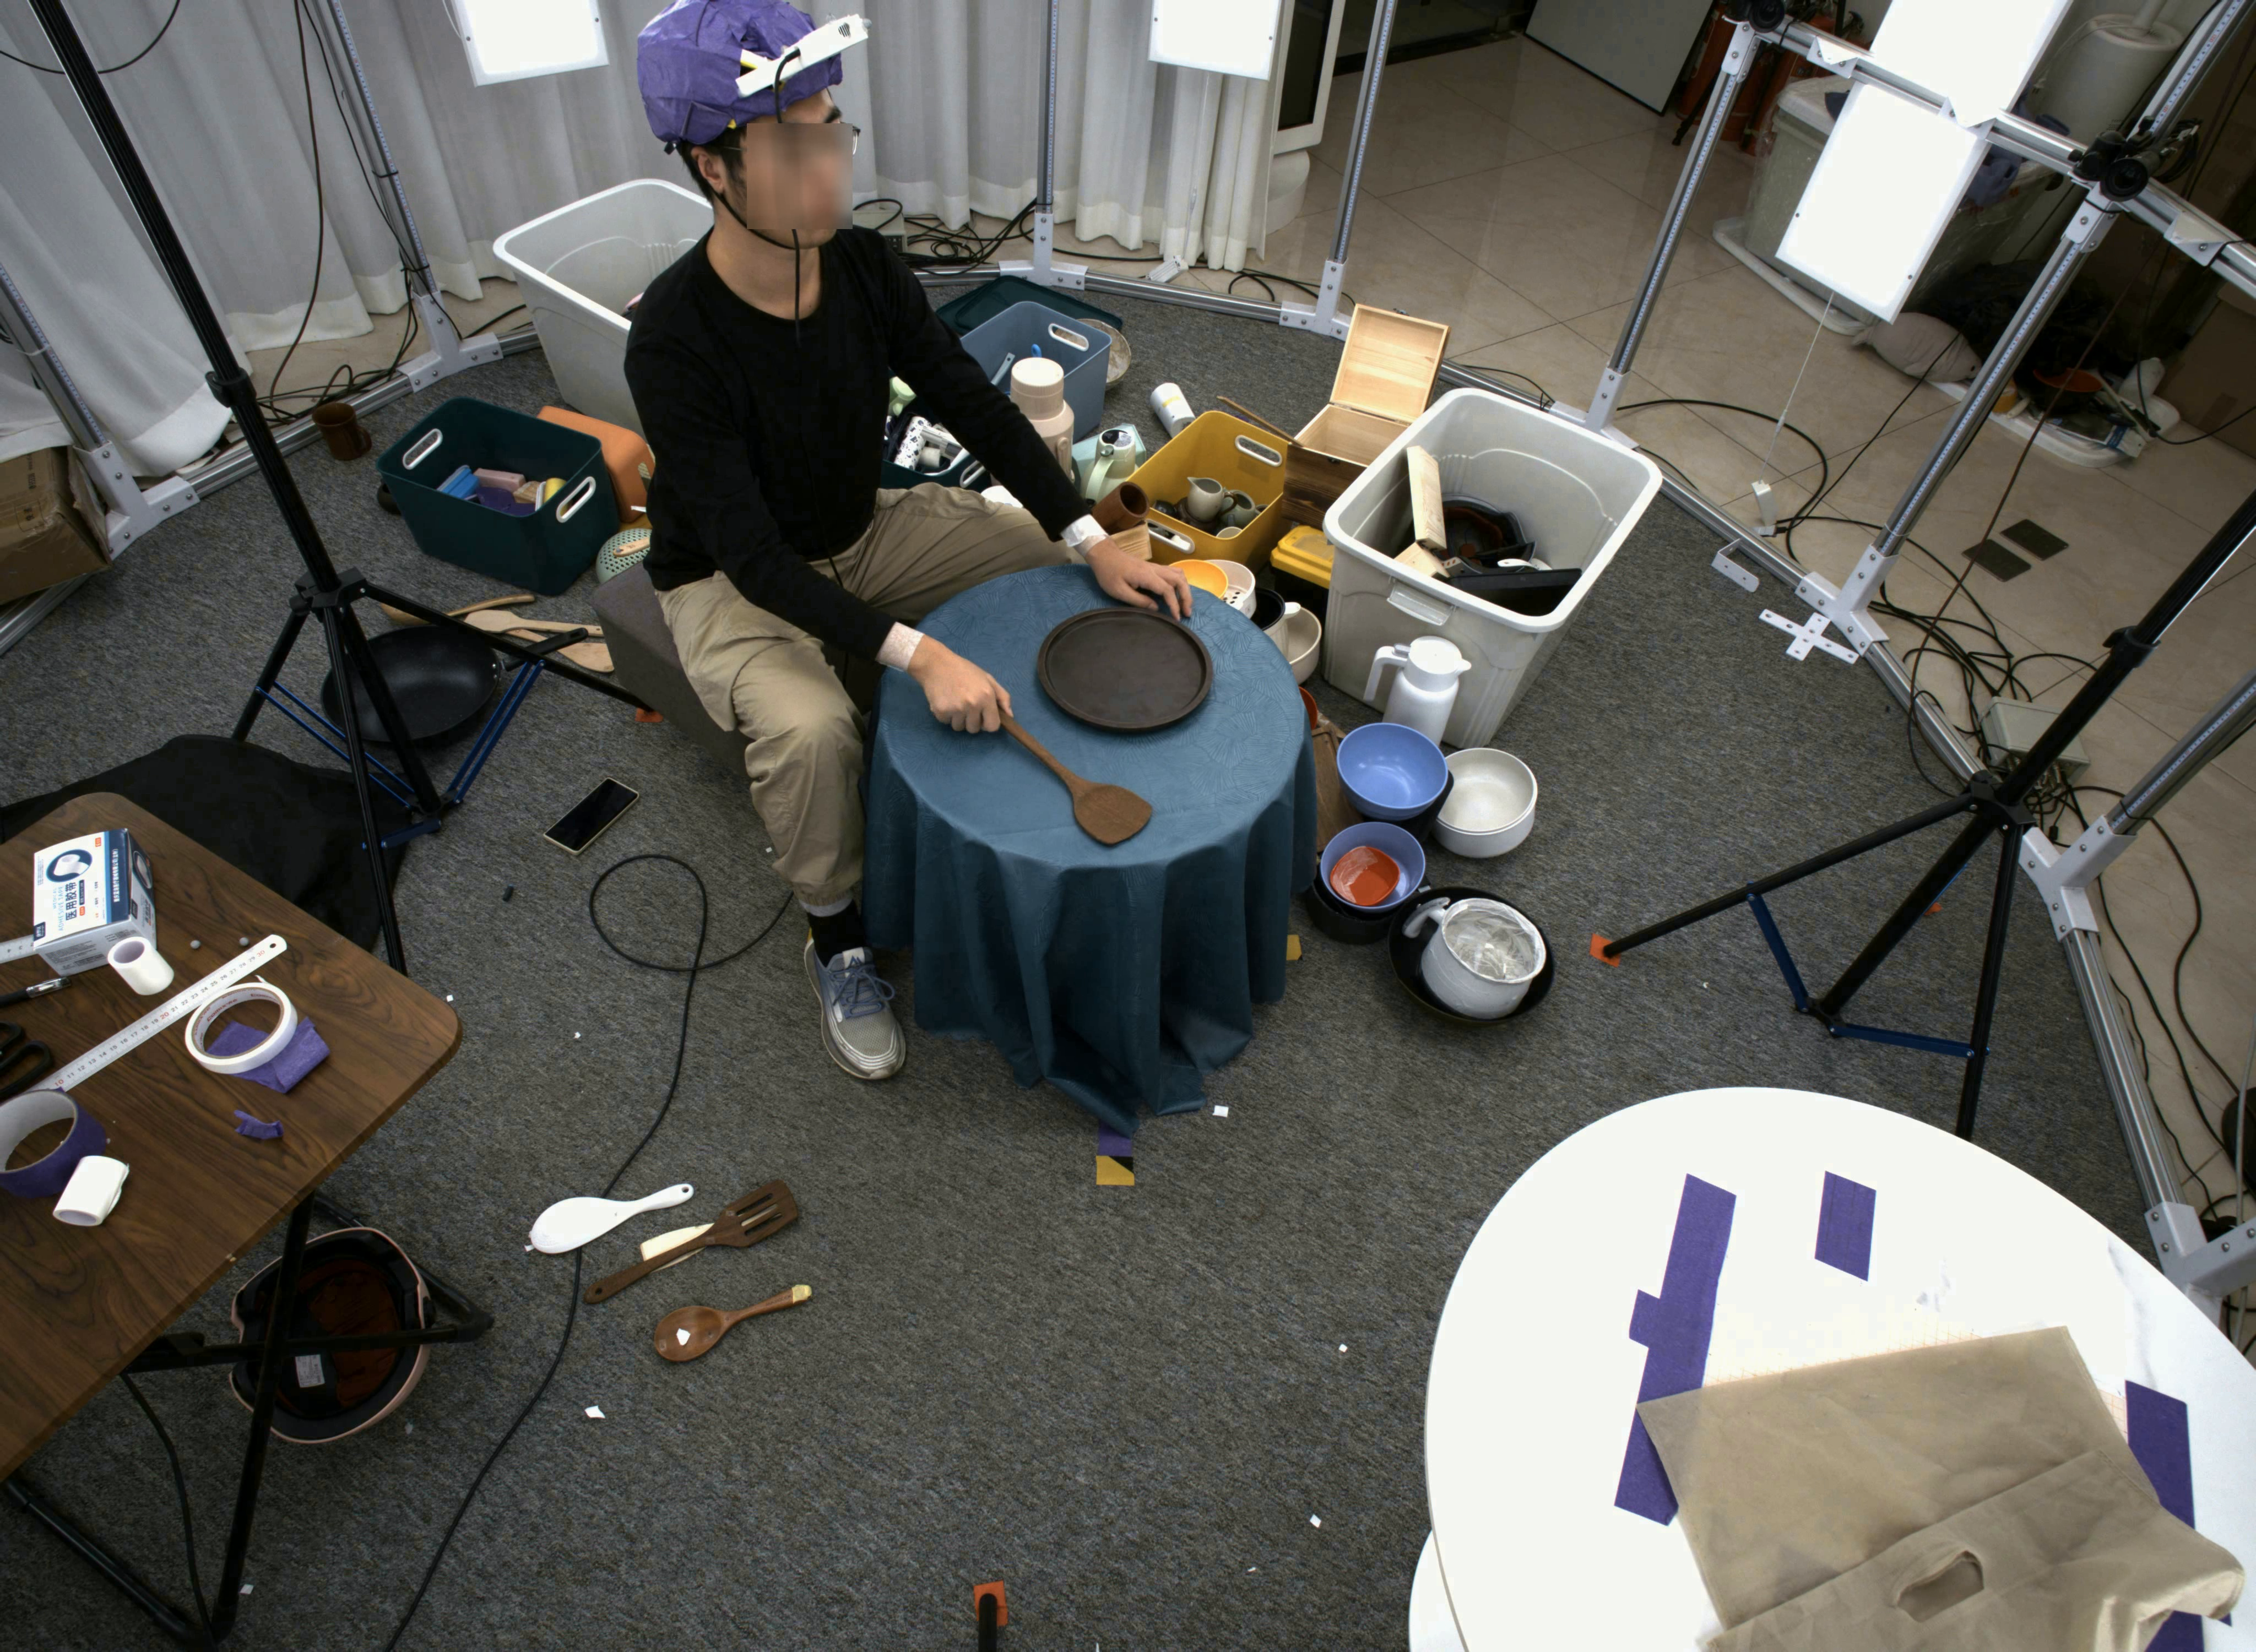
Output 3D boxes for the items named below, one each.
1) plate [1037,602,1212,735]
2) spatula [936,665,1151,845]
[{"bbox_3d":[-0.005,-0.226,1.851,0.254,0.028,0.261,2,51,-3],"label":"plate"},{"bbox_3d":[-0.129,-0.108,1.732,0.391,0.015,0.097,41,58,22],"label":"spatula"}]
